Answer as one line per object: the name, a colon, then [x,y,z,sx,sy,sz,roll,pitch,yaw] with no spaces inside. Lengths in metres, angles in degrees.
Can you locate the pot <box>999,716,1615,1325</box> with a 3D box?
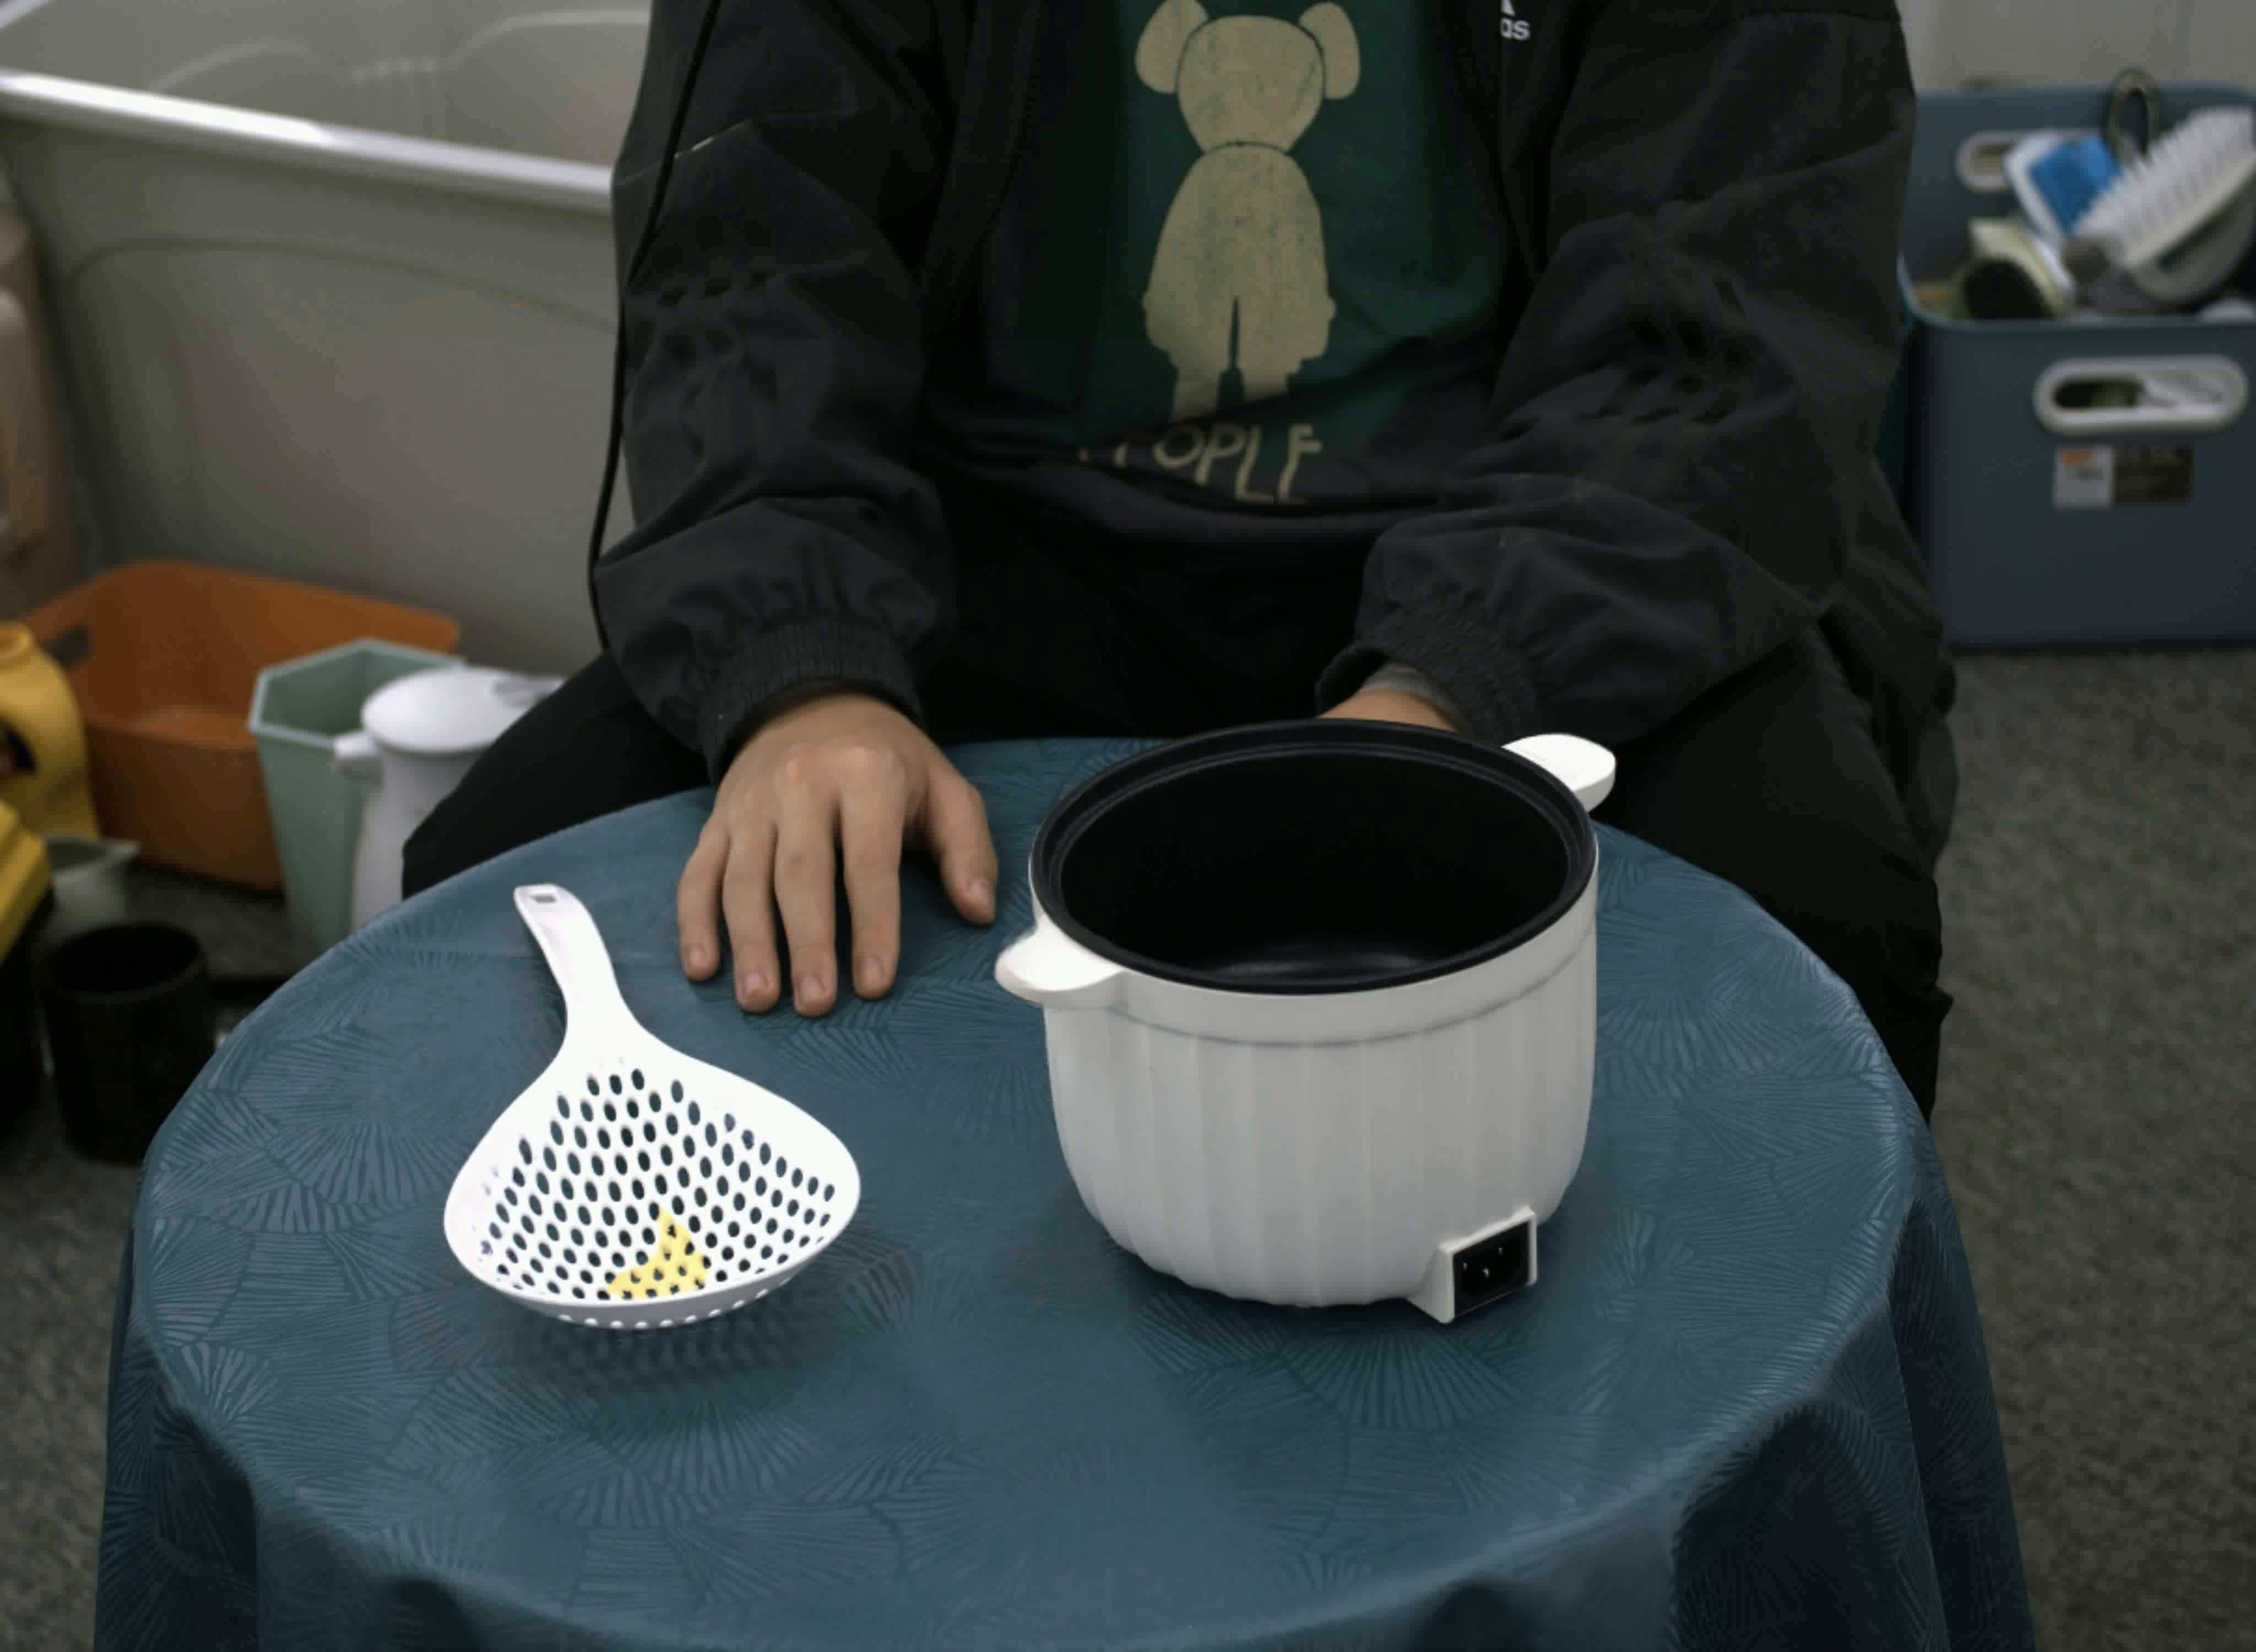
pot: [0.058,0.063,1.817,0.242,0.141,0.191,-19,34,-32]

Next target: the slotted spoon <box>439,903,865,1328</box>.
slotted spoon: [-0.177,0.085,1.901,0.137,0.050,0.352,-10,28,-10]
